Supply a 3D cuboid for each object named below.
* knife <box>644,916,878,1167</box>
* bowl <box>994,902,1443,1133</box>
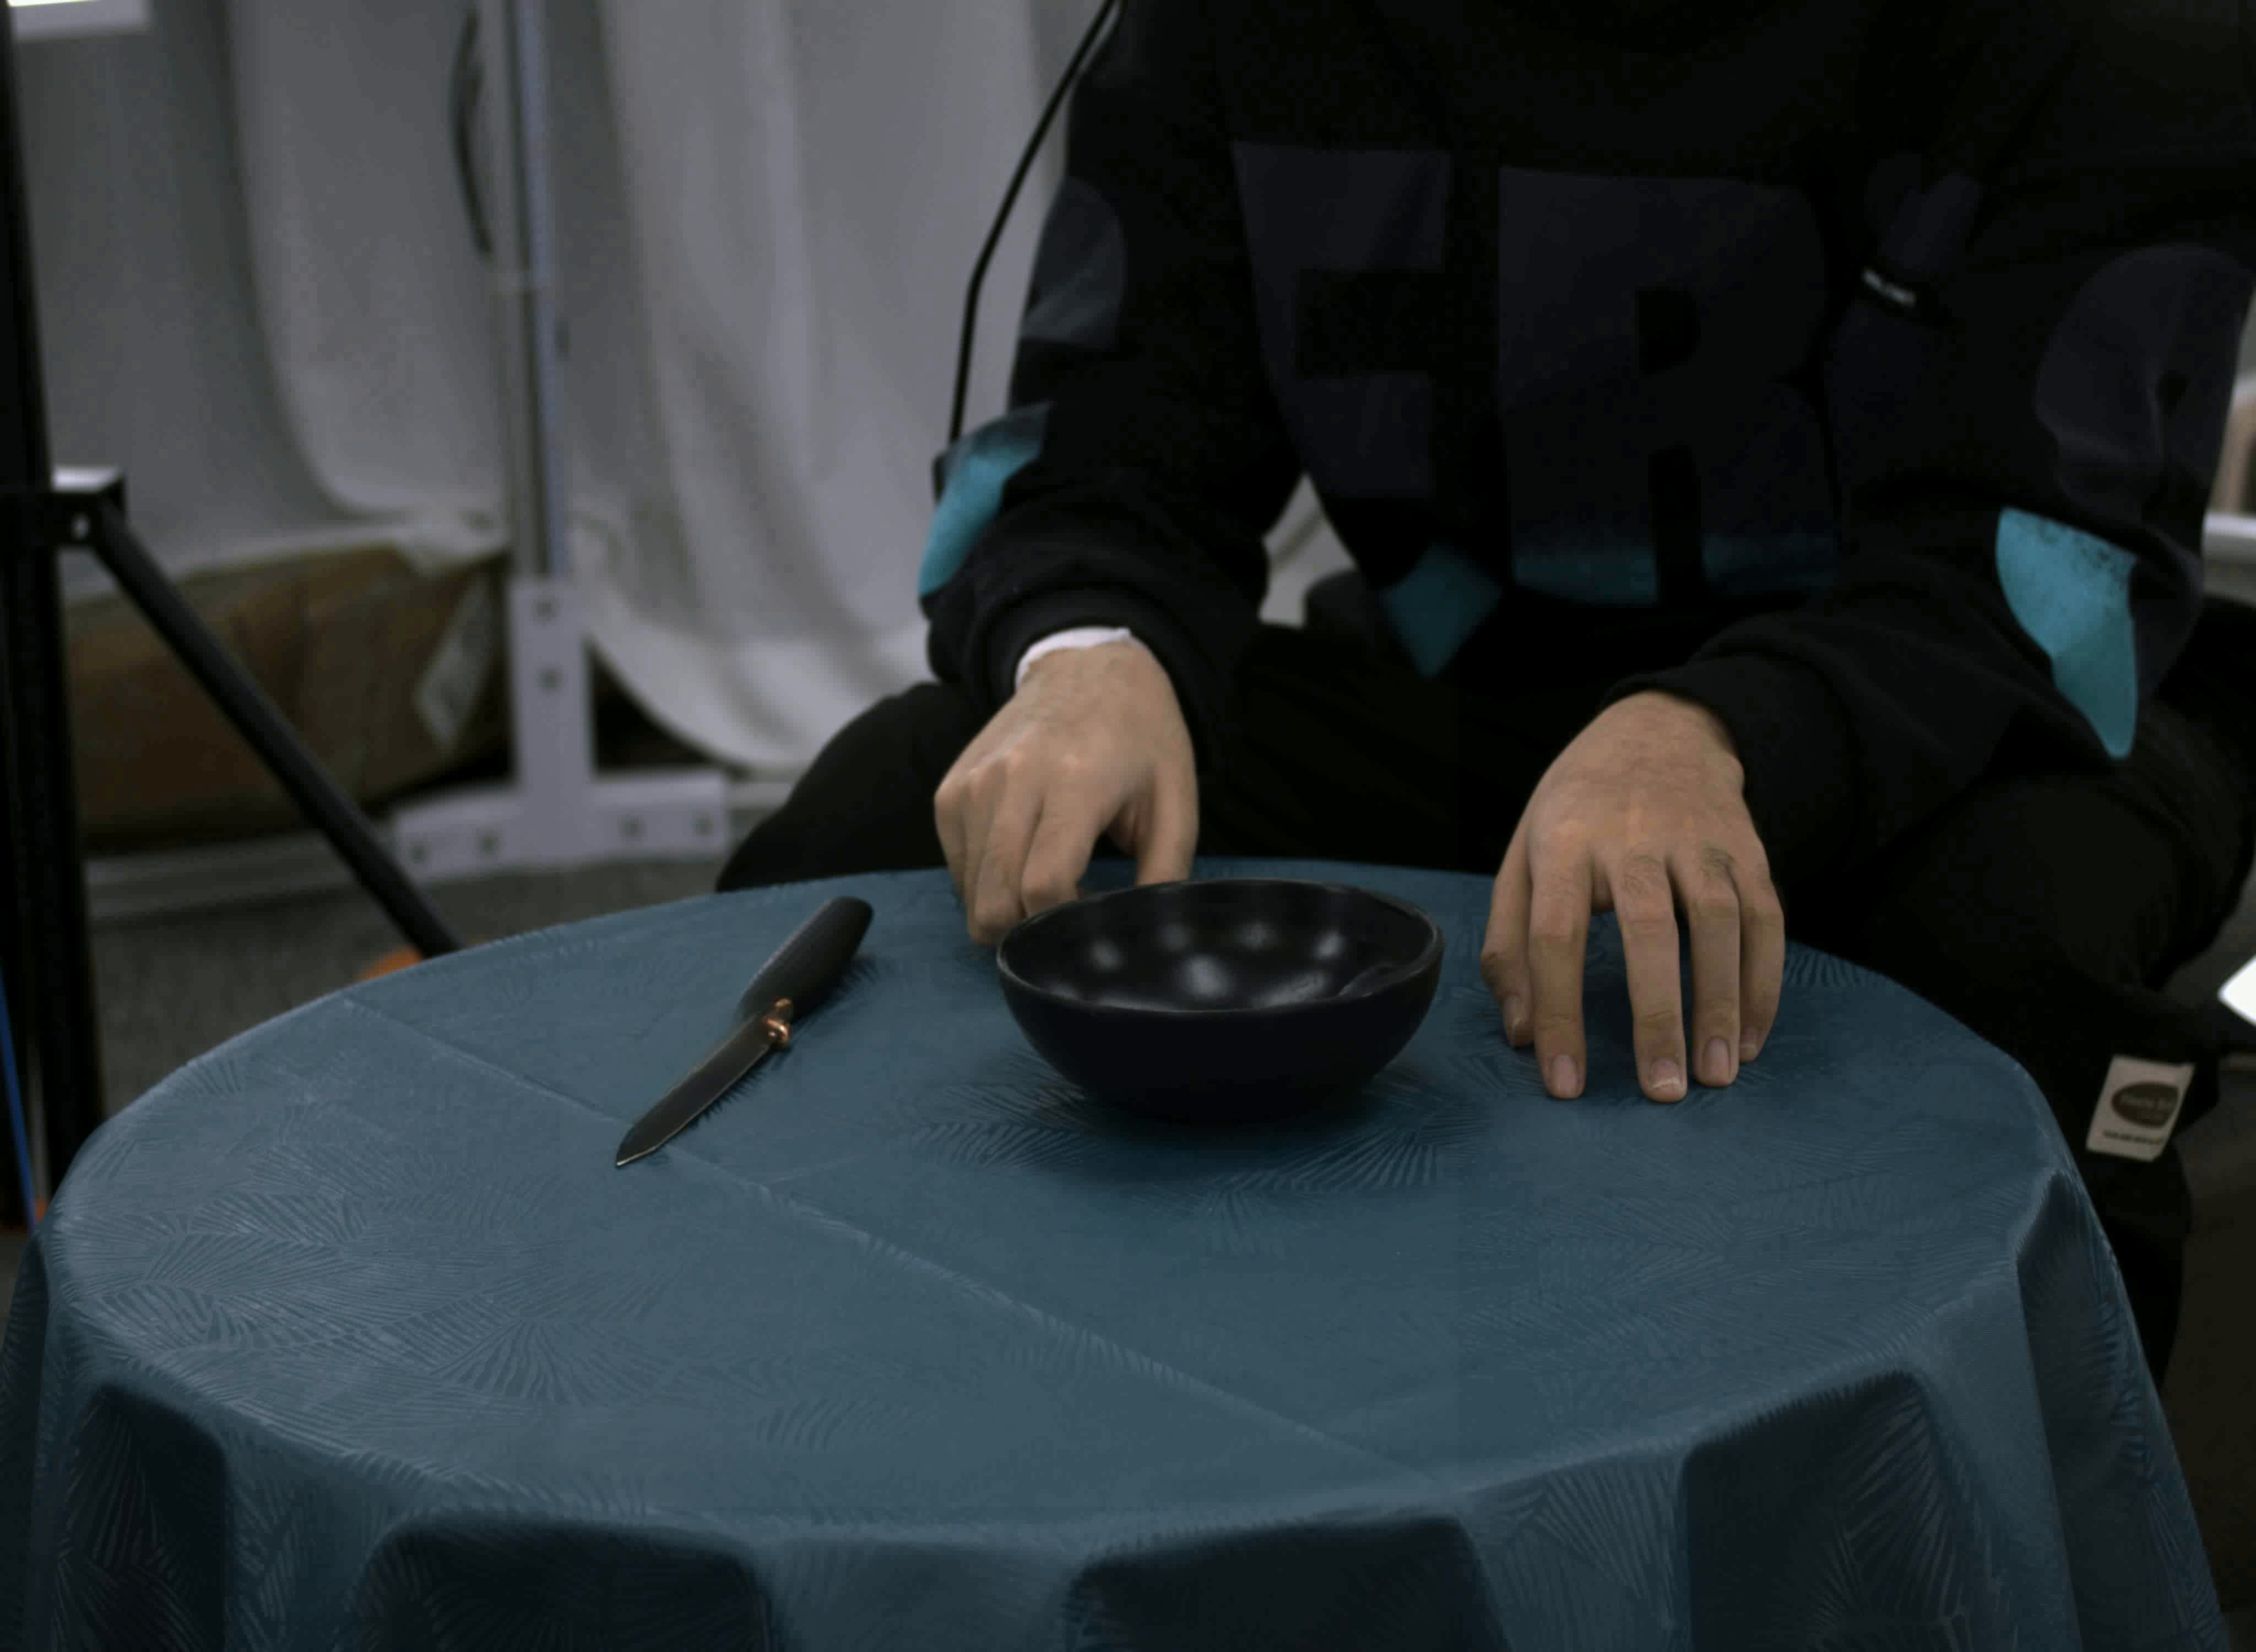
[{"bbox_3d":[-0.120,0.068,1.699,0.026,0.017,0.224,4,18,14],"label":"knife"},{"bbox_3d":[0.029,0.062,1.635,0.139,0.050,0.140,-3,11,-1],"label":"bowl"}]
